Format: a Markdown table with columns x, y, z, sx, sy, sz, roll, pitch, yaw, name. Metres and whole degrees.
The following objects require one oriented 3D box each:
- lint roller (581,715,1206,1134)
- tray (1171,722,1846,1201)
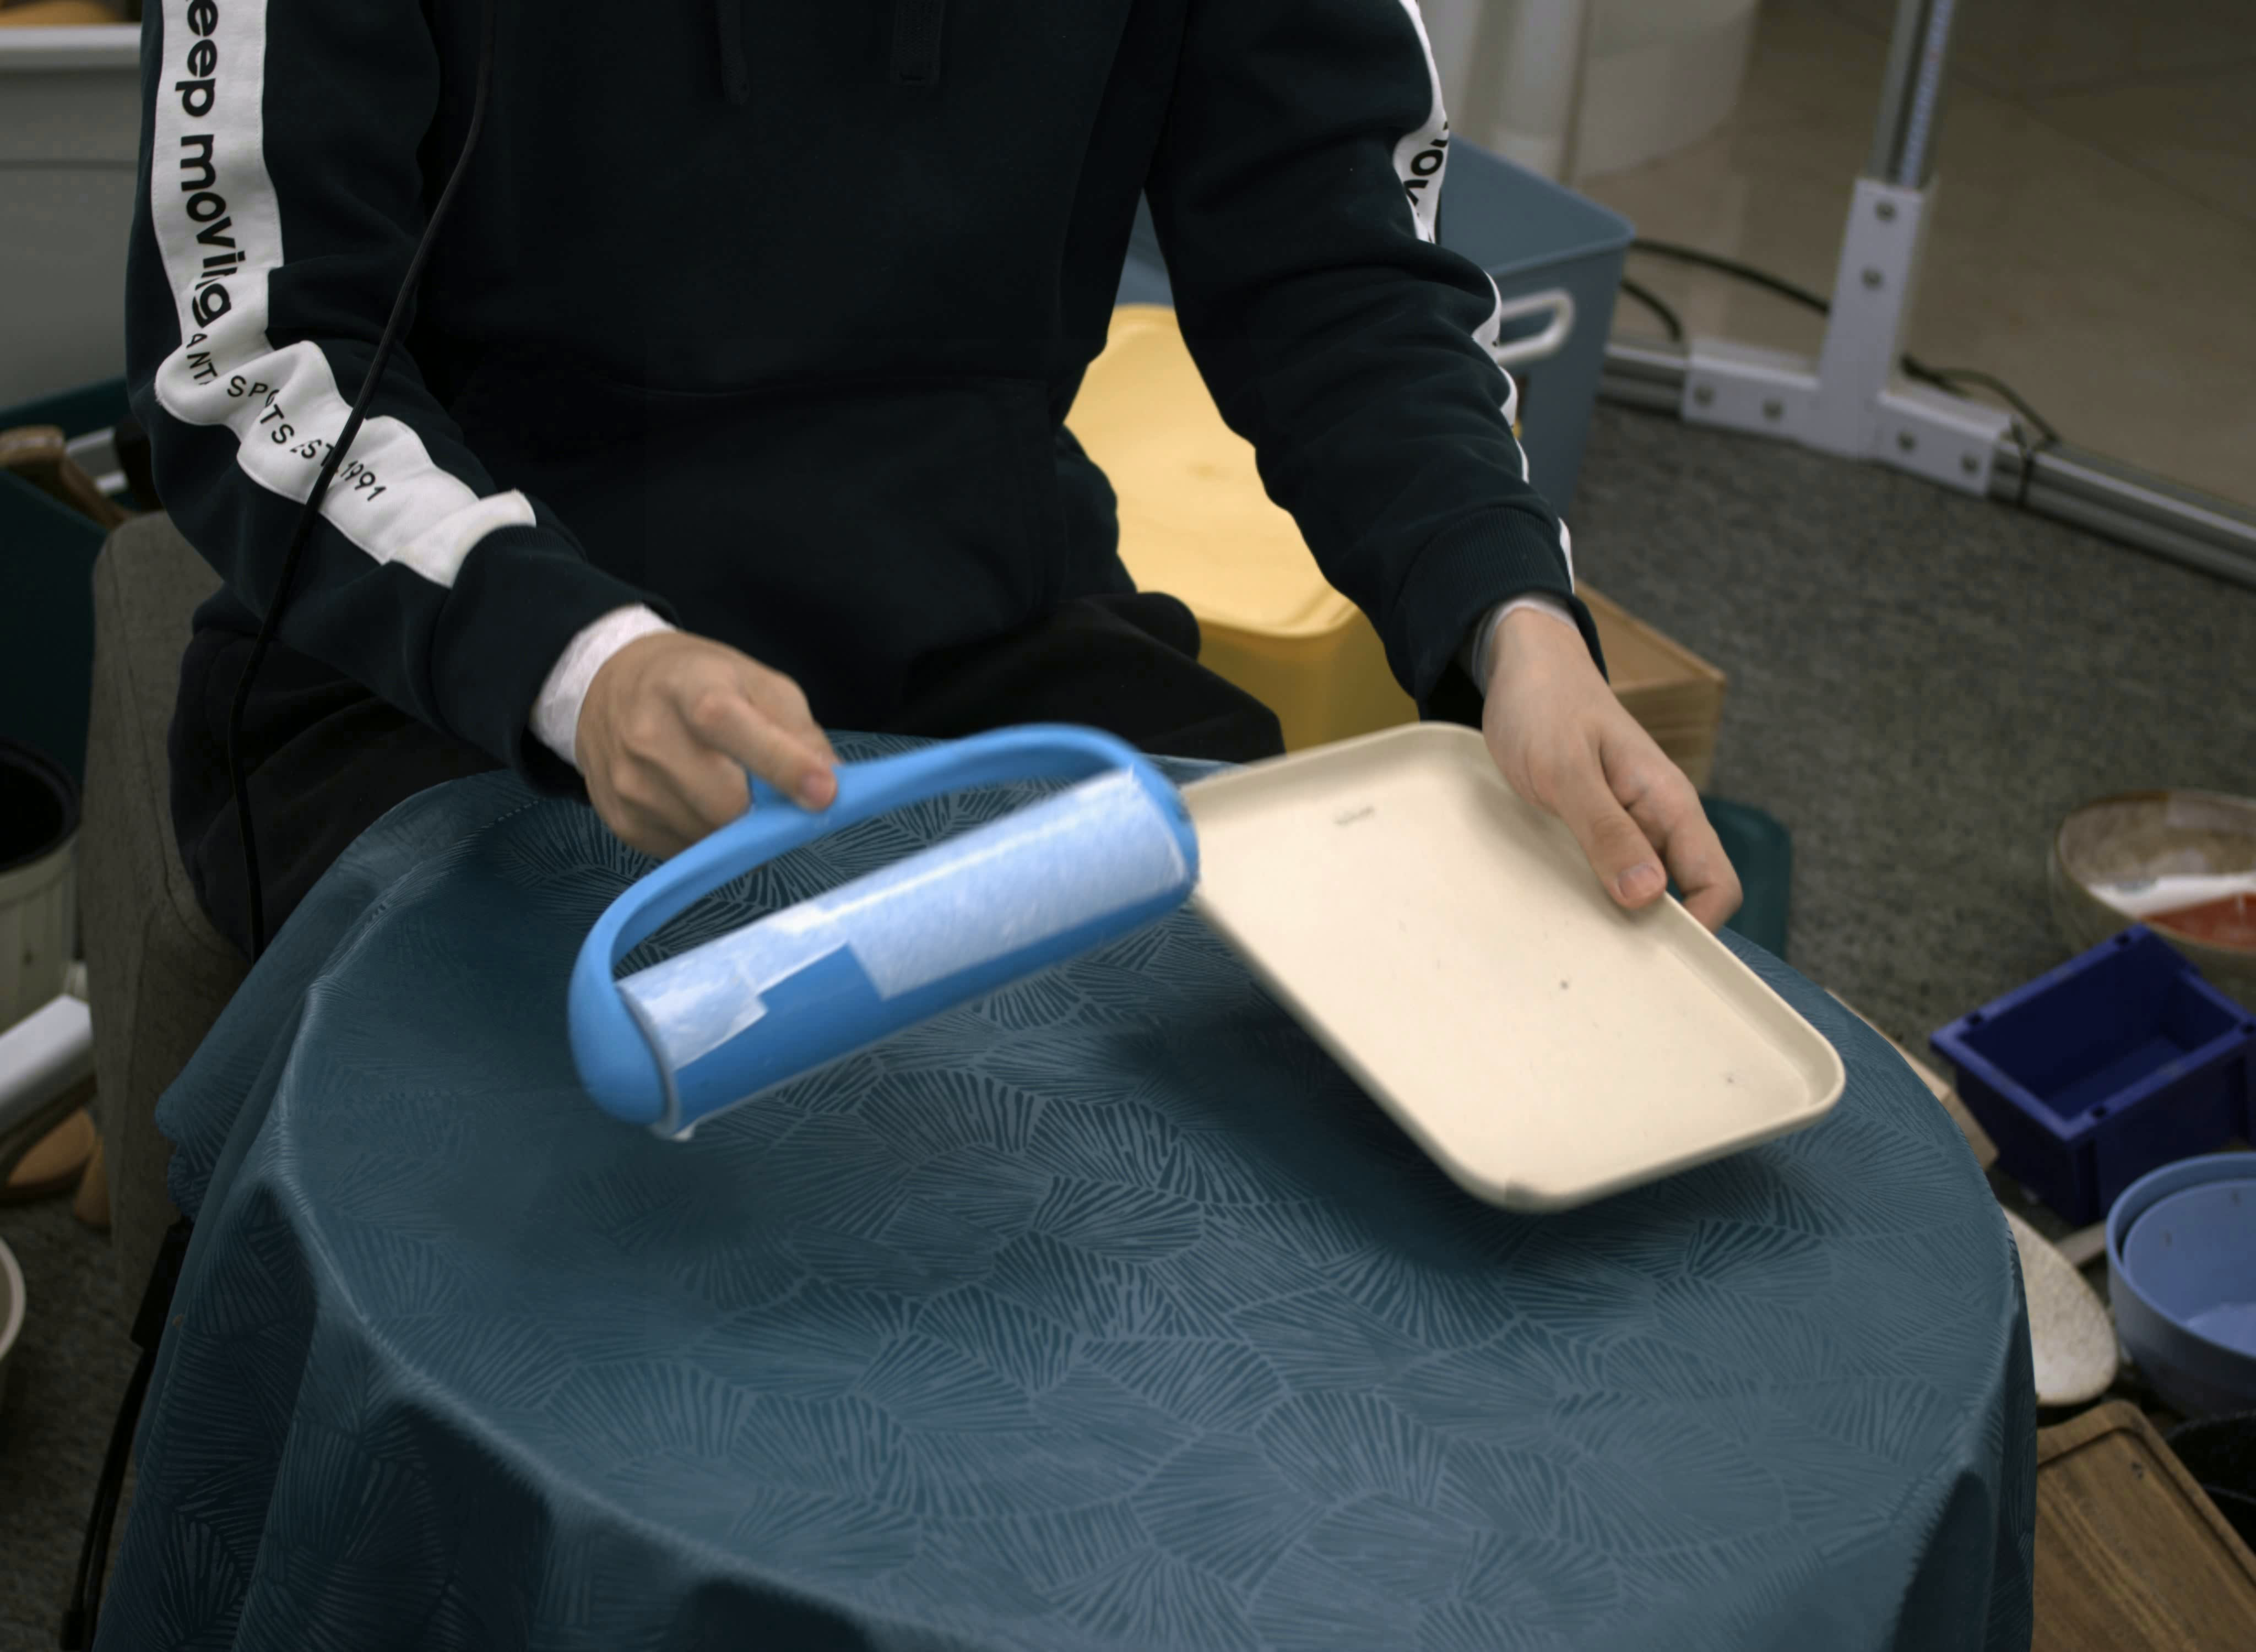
| x | y | z | sx | sy | sz | roll | pitch | yaw | name |
| --- | --- | --- | --- | --- | --- | --- | --- | --- | --- |
| -0.107 | 0.010 | 1.783 | 0.228 | 0.067 | 0.182 | -27 | 41 | -24 | lint roller |
| 0.125 | 0.046 | 1.863 | 0.170 | 0.017 | 0.242 | -12 | 42 | -34 | tray |
